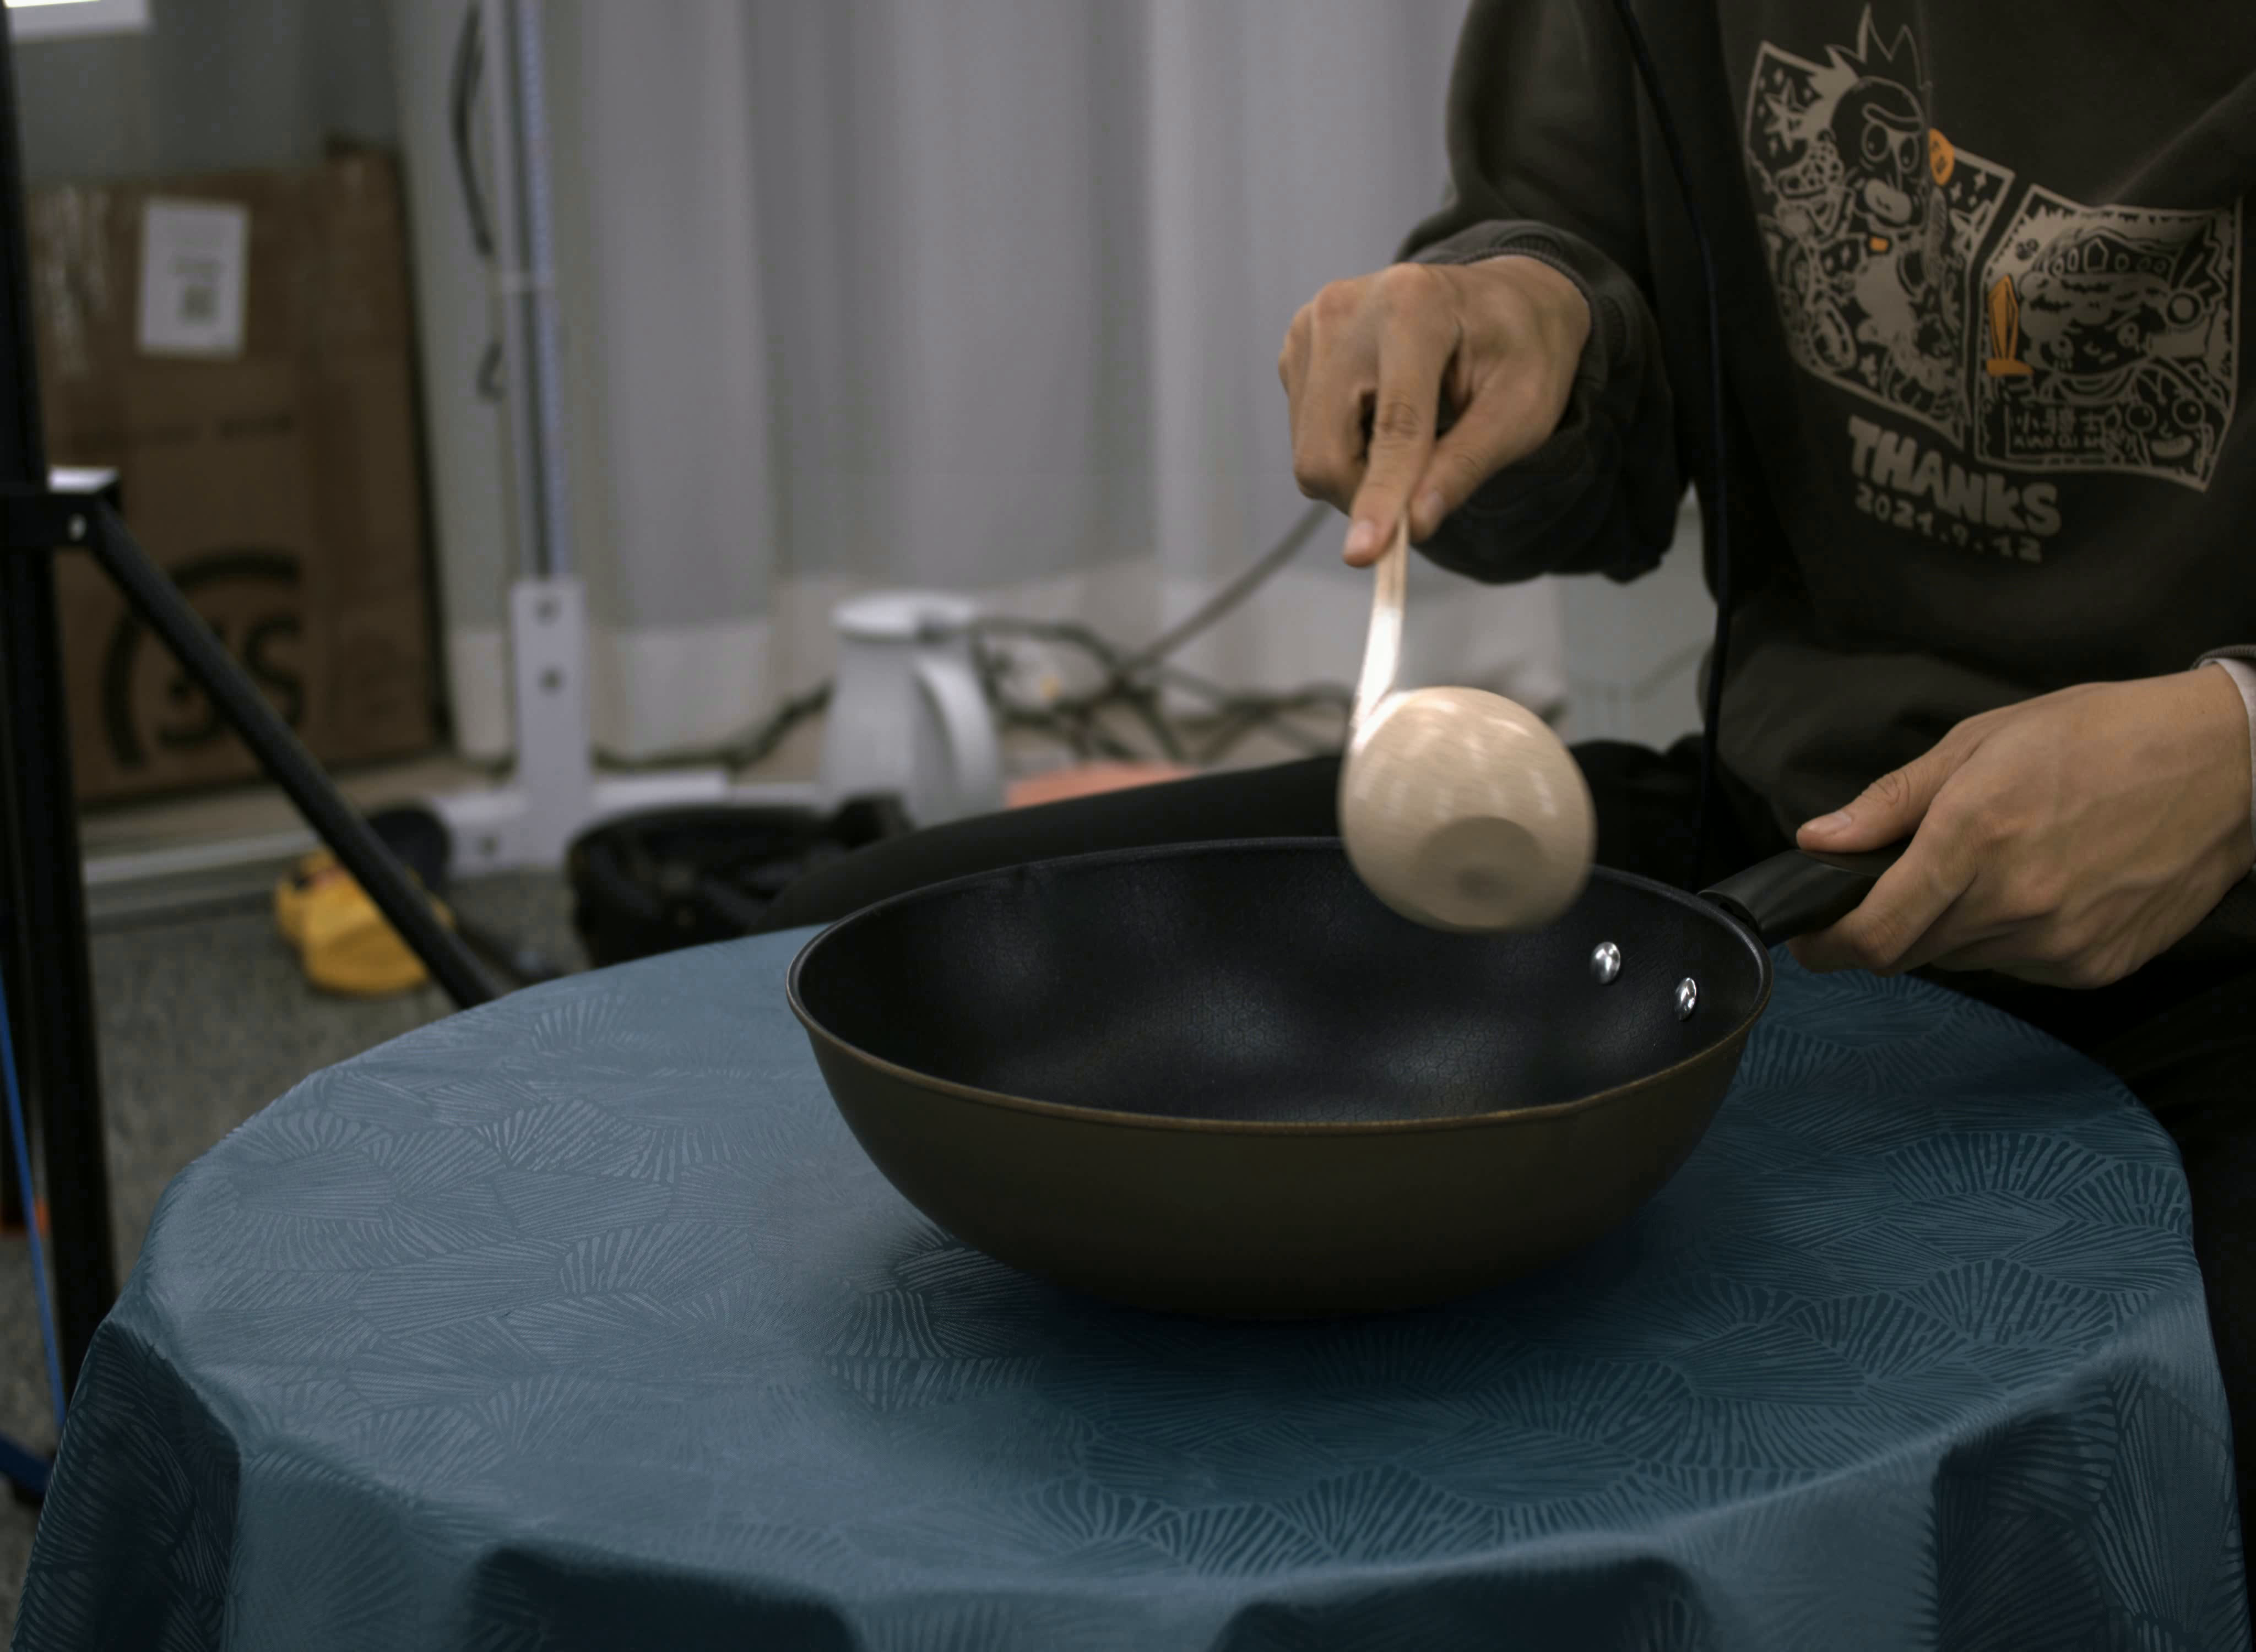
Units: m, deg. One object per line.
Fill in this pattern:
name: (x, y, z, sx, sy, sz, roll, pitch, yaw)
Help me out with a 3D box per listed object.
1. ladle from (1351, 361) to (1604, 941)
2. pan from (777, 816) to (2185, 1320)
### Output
ladle: (0.104, -0.056, 1.601, 0.072, 0.073, 0.256, 33, 29, -17)
pan: (0.119, 0.064, 1.550, 0.453, 0.087, 0.294, -9, 17, -27)
